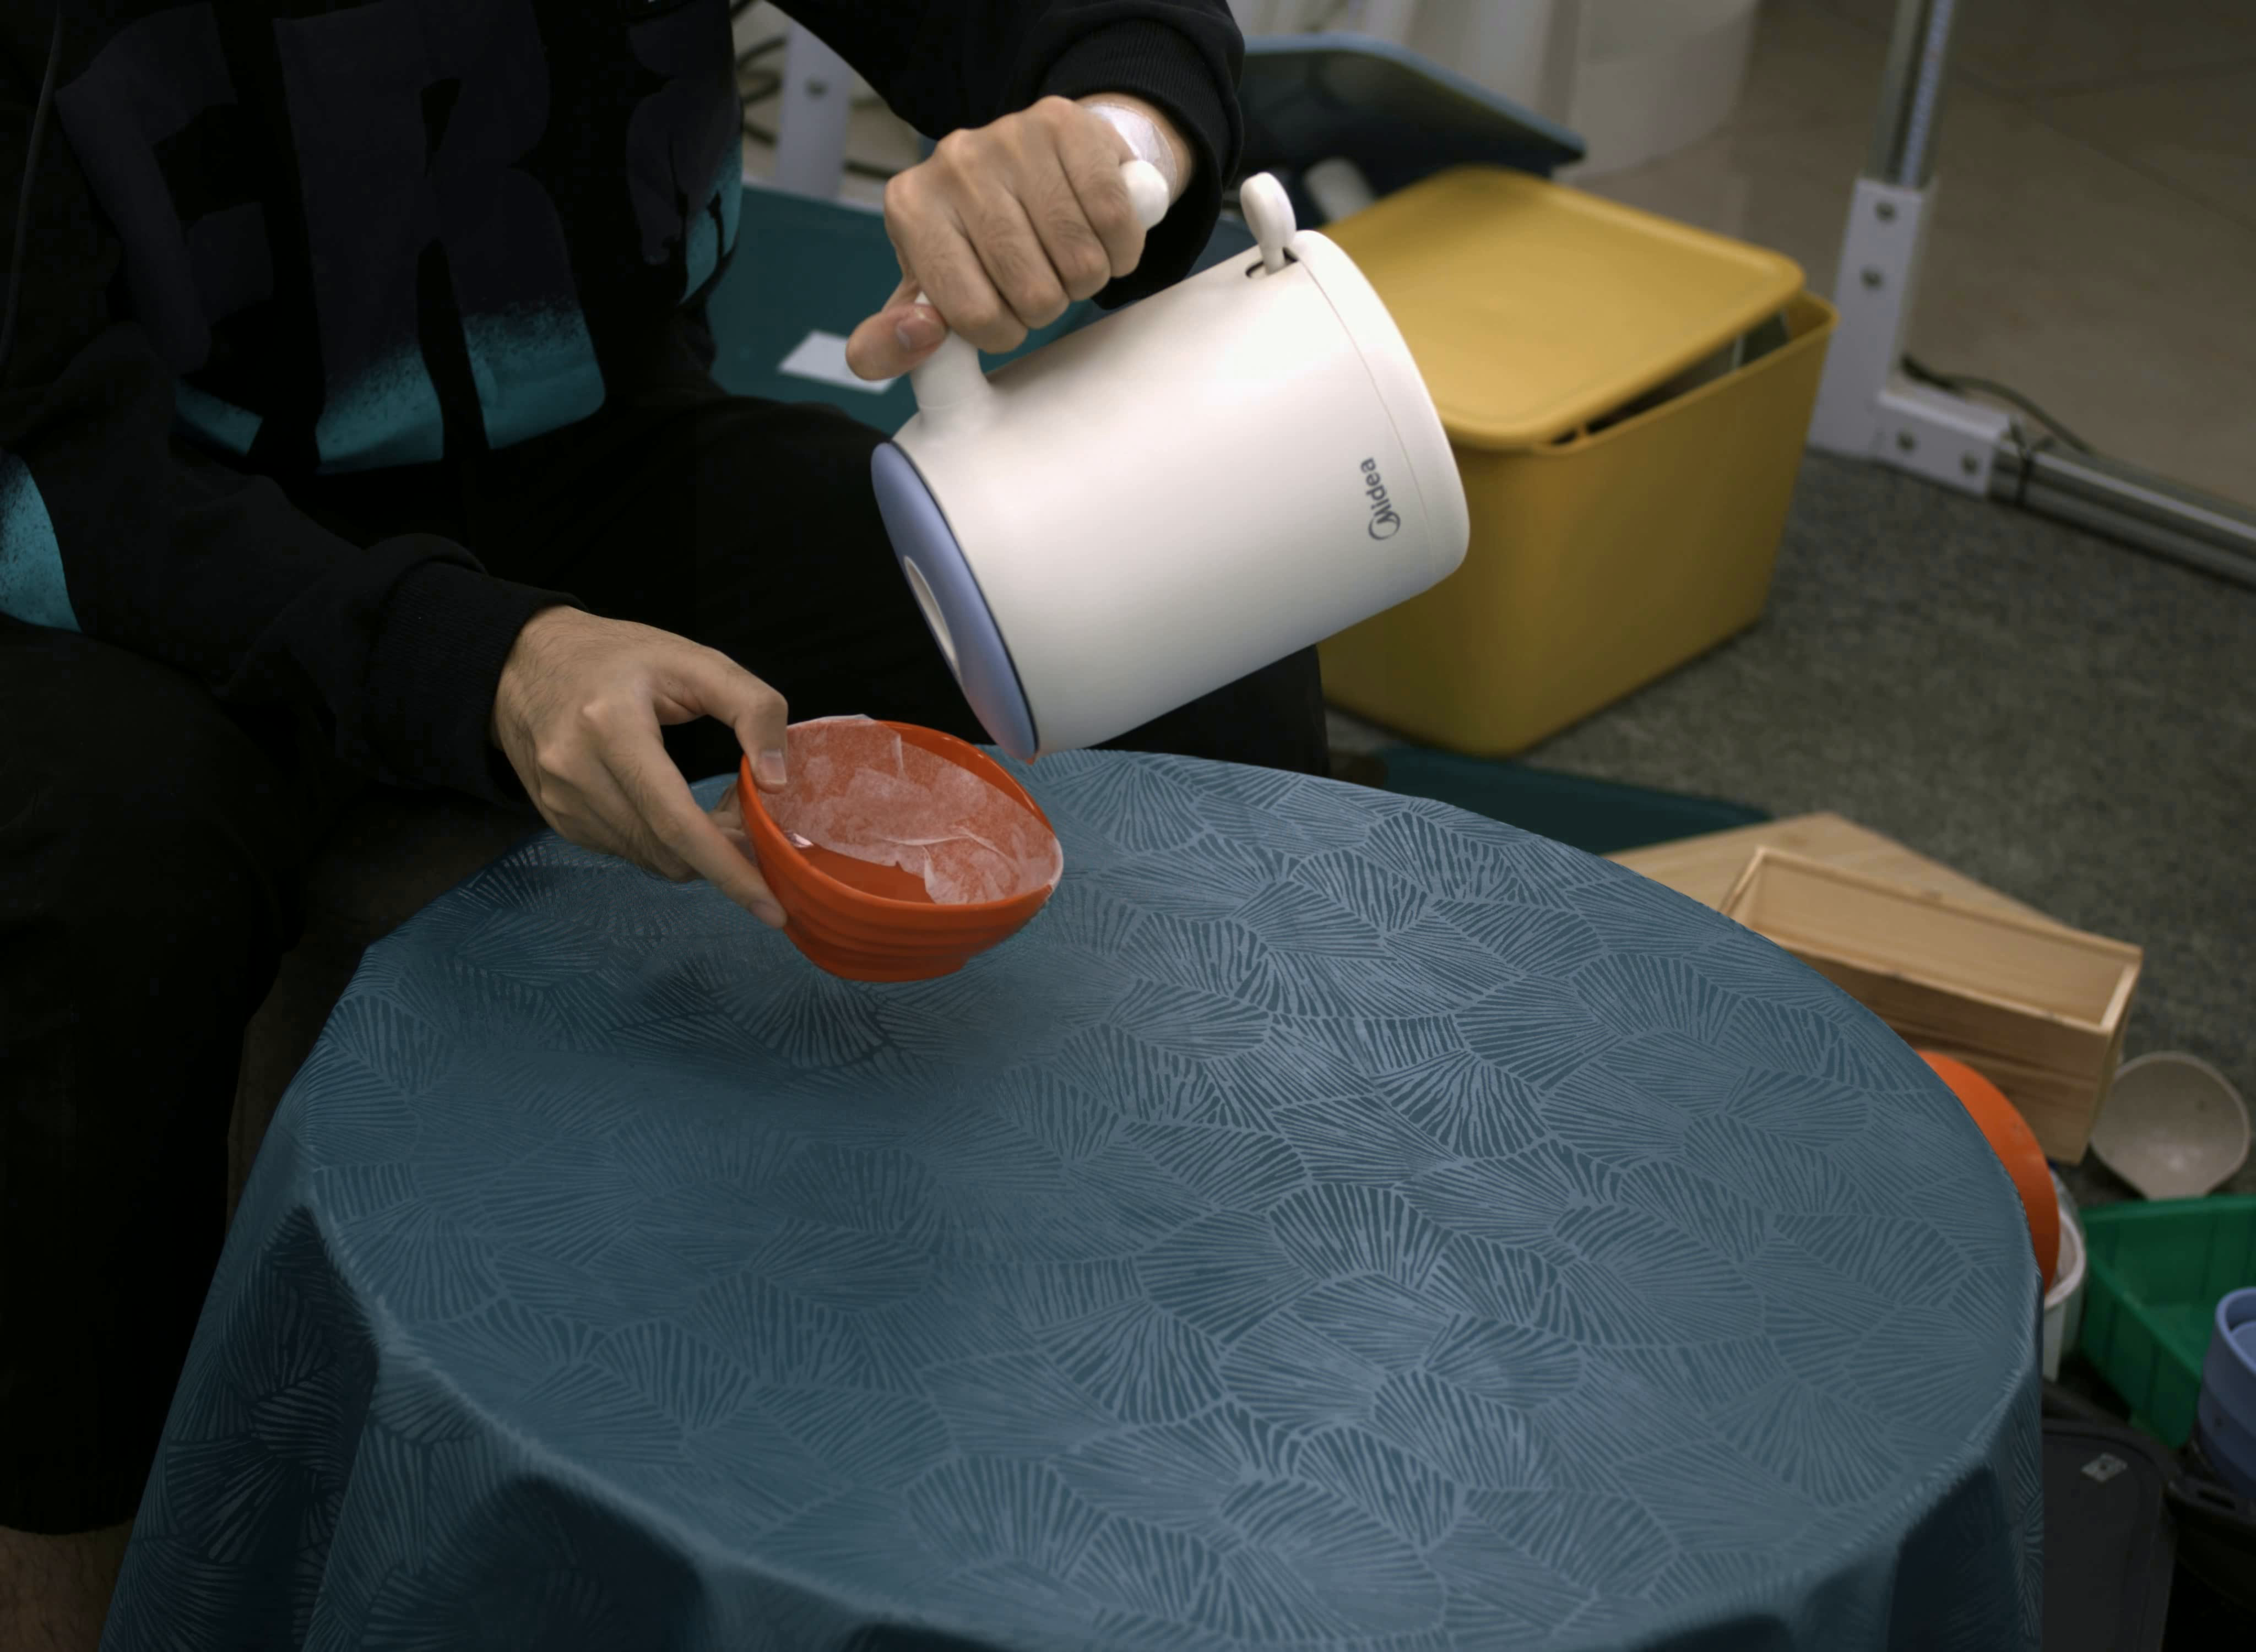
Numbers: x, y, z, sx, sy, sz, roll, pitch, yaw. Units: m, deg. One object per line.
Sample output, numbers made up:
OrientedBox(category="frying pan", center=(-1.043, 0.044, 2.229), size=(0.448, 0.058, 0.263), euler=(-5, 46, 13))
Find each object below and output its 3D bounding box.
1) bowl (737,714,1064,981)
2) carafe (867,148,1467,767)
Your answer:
OrientedBox(category="bowl", center=(-0.084, 0.013, 1.852), size=(0.118, 0.051, 0.120), euler=(13, 34, -9))
OrientedBox(category="carafe", center=(0.006, -0.133, 1.800), size=(0.182, 0.190, 0.133), euler=(-24, 27, -9))
